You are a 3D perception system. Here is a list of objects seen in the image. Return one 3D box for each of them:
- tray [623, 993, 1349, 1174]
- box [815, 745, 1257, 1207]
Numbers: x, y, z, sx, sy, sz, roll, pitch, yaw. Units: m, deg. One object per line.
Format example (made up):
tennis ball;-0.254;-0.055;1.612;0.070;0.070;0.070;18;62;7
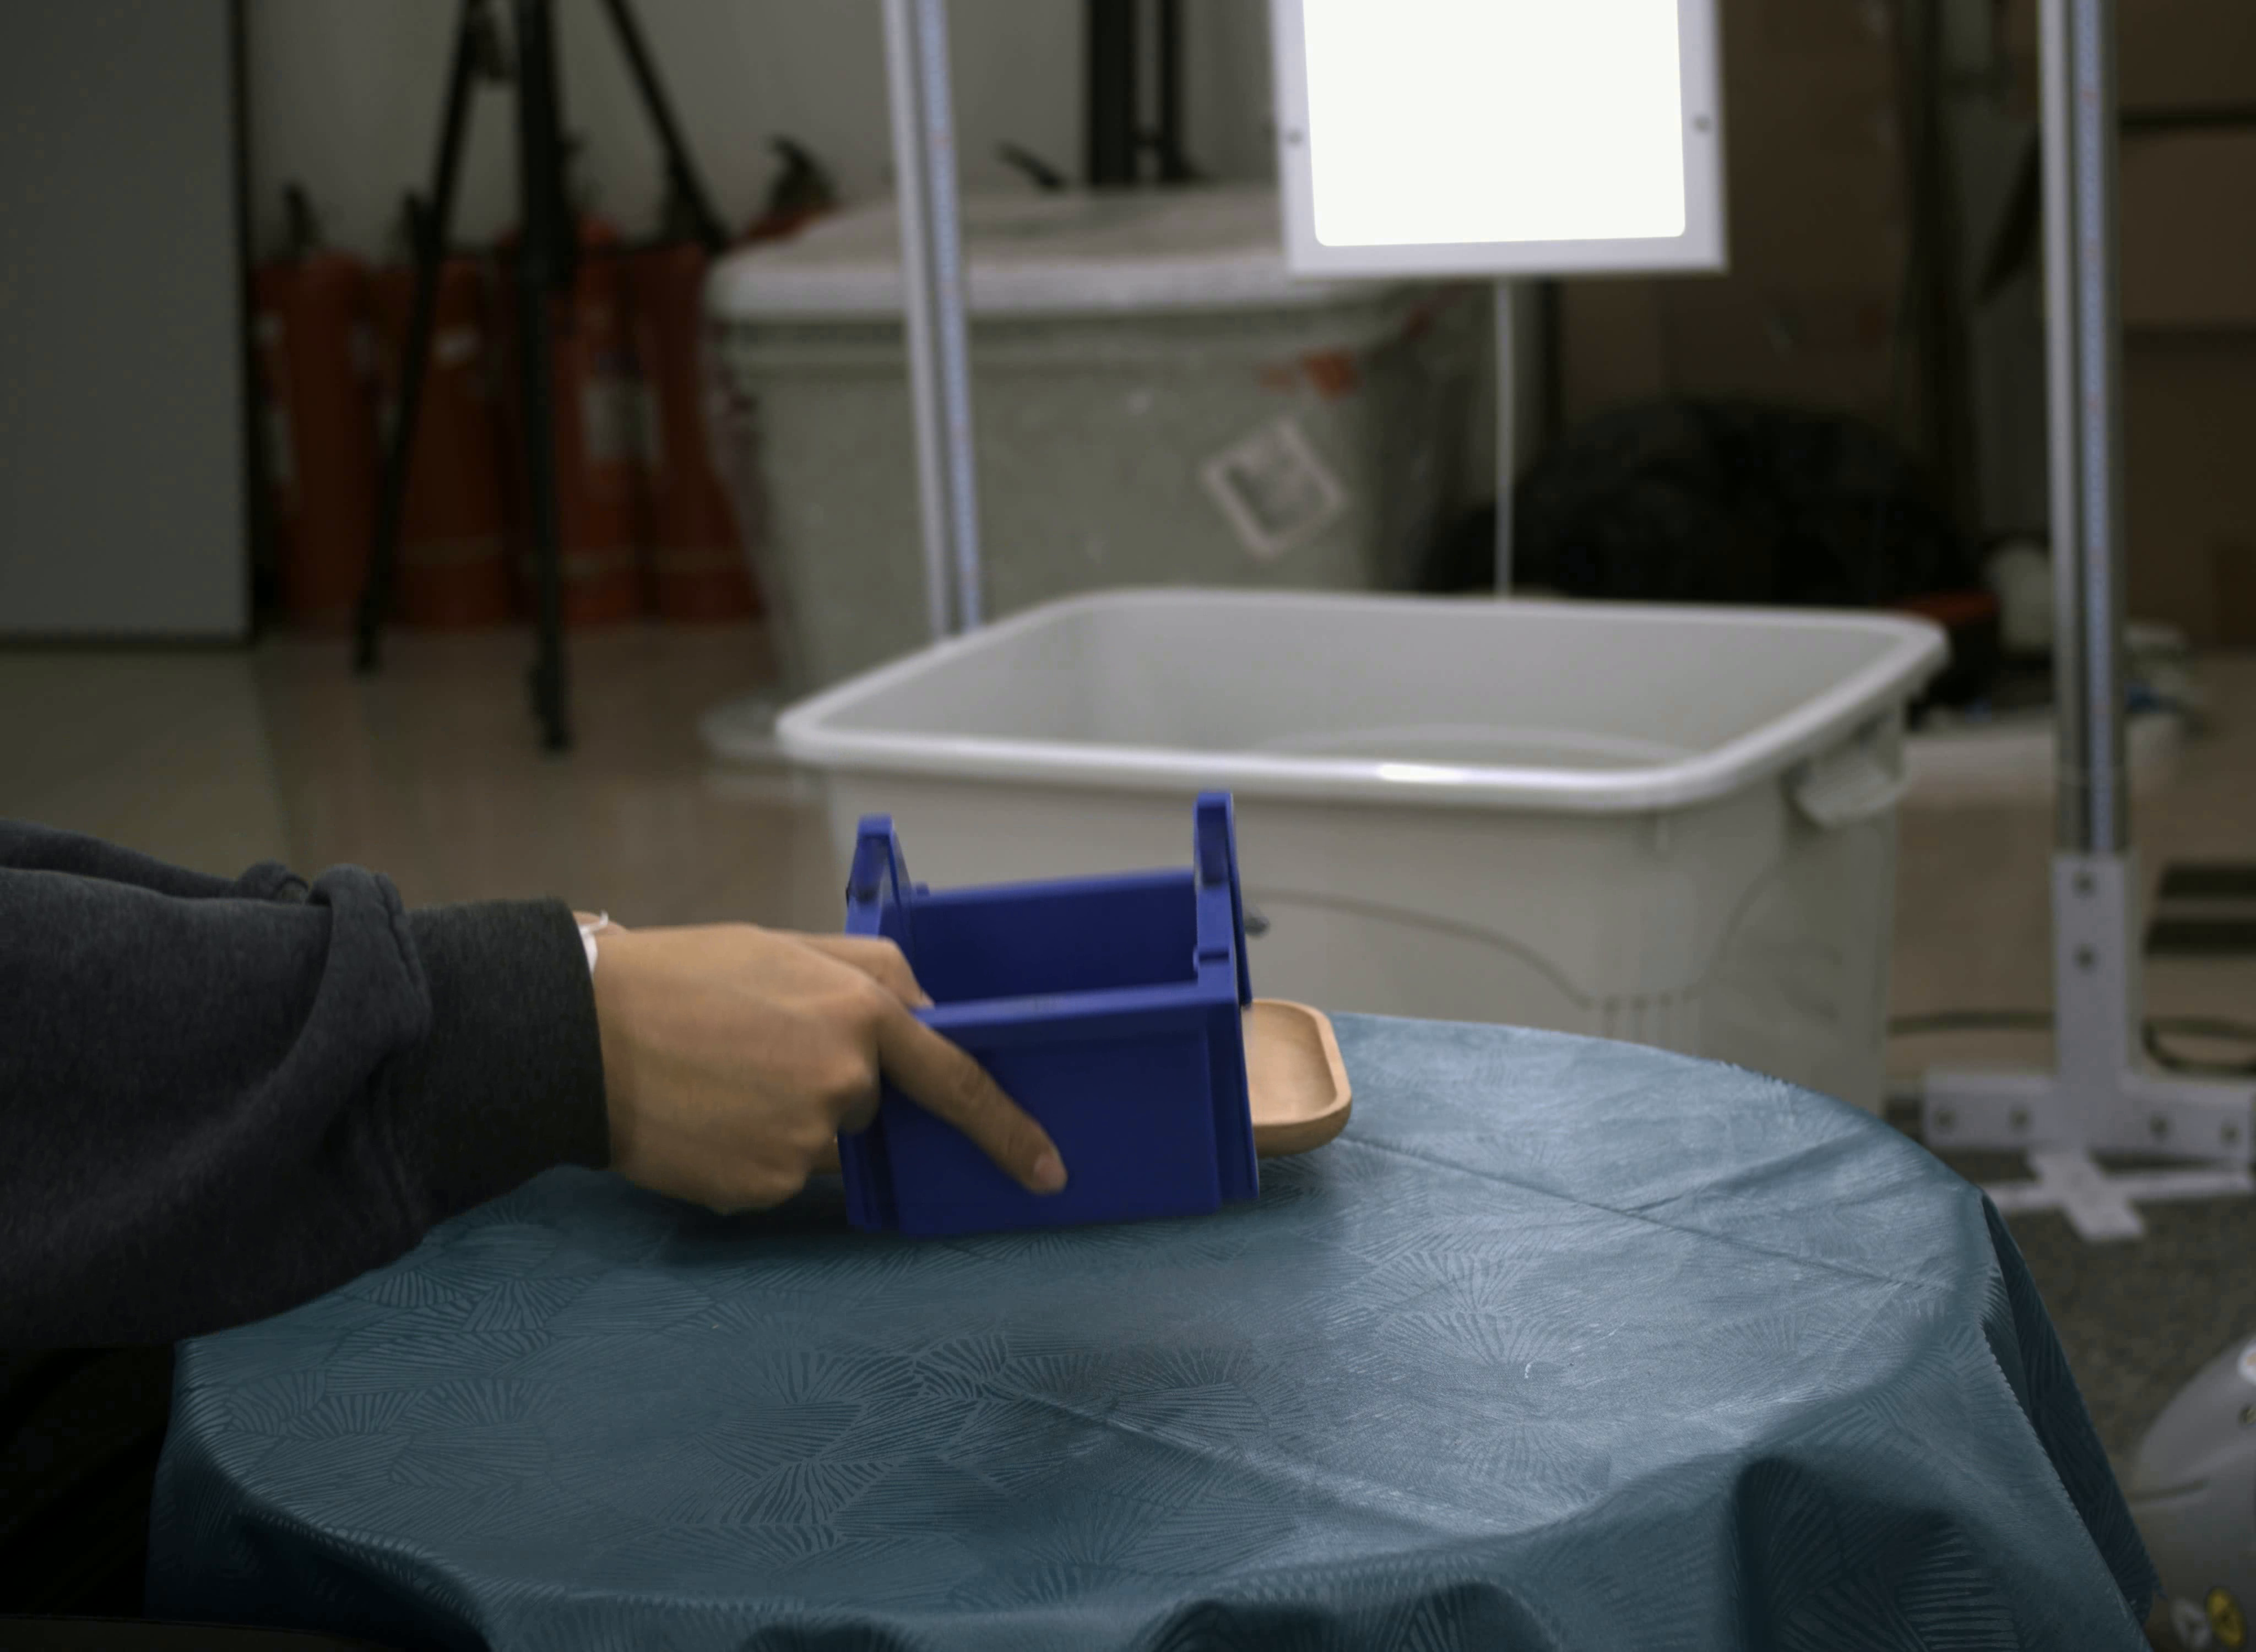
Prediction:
tray;-0.050;0.090;1.920;0.250;0.023;0.130;-3;15;-1
box;-0.026;0.041;1.709;0.125;0.082;0.178;-5;29;6
